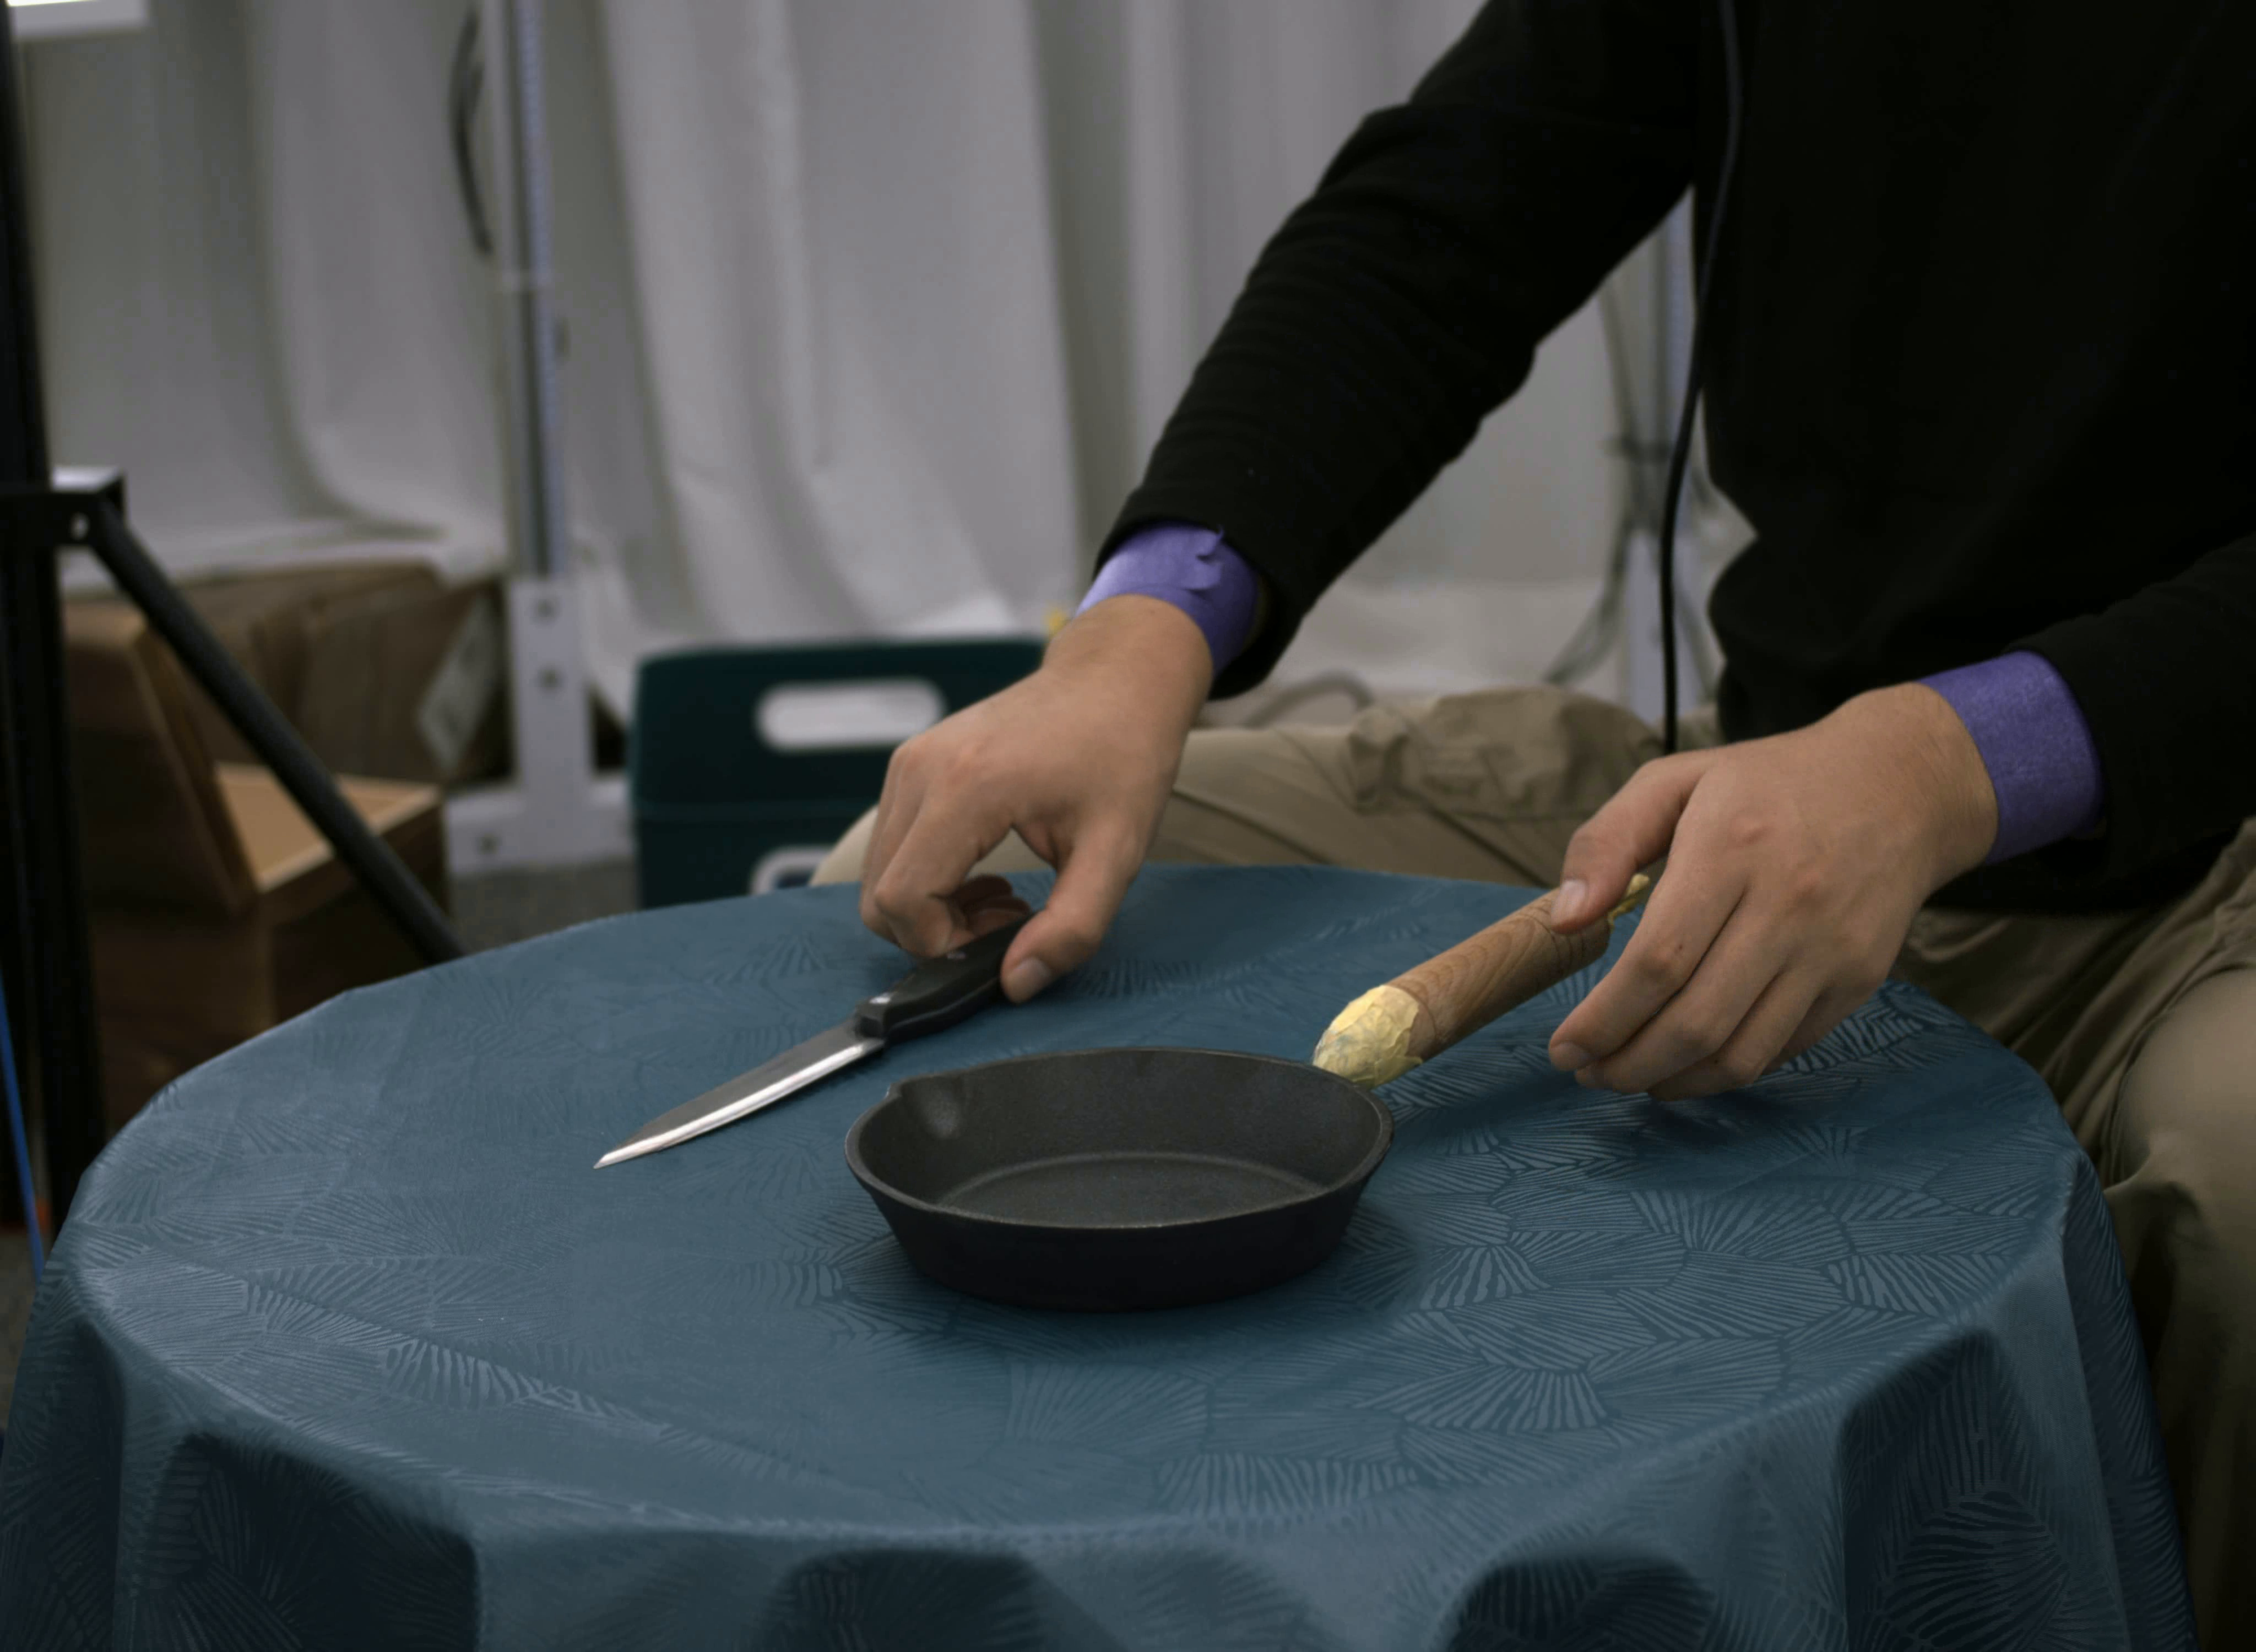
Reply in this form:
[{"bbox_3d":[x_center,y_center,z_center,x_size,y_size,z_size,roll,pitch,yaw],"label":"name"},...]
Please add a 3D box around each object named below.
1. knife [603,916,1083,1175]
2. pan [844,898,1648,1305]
[{"bbox_3d":[-0.090,0.069,1.686,0.025,0.016,0.233,13,25,34],"label":"knife"},{"bbox_3d":[0.054,0.077,1.570,0.173,0.049,0.317,13,21,43],"label":"pan"}]
